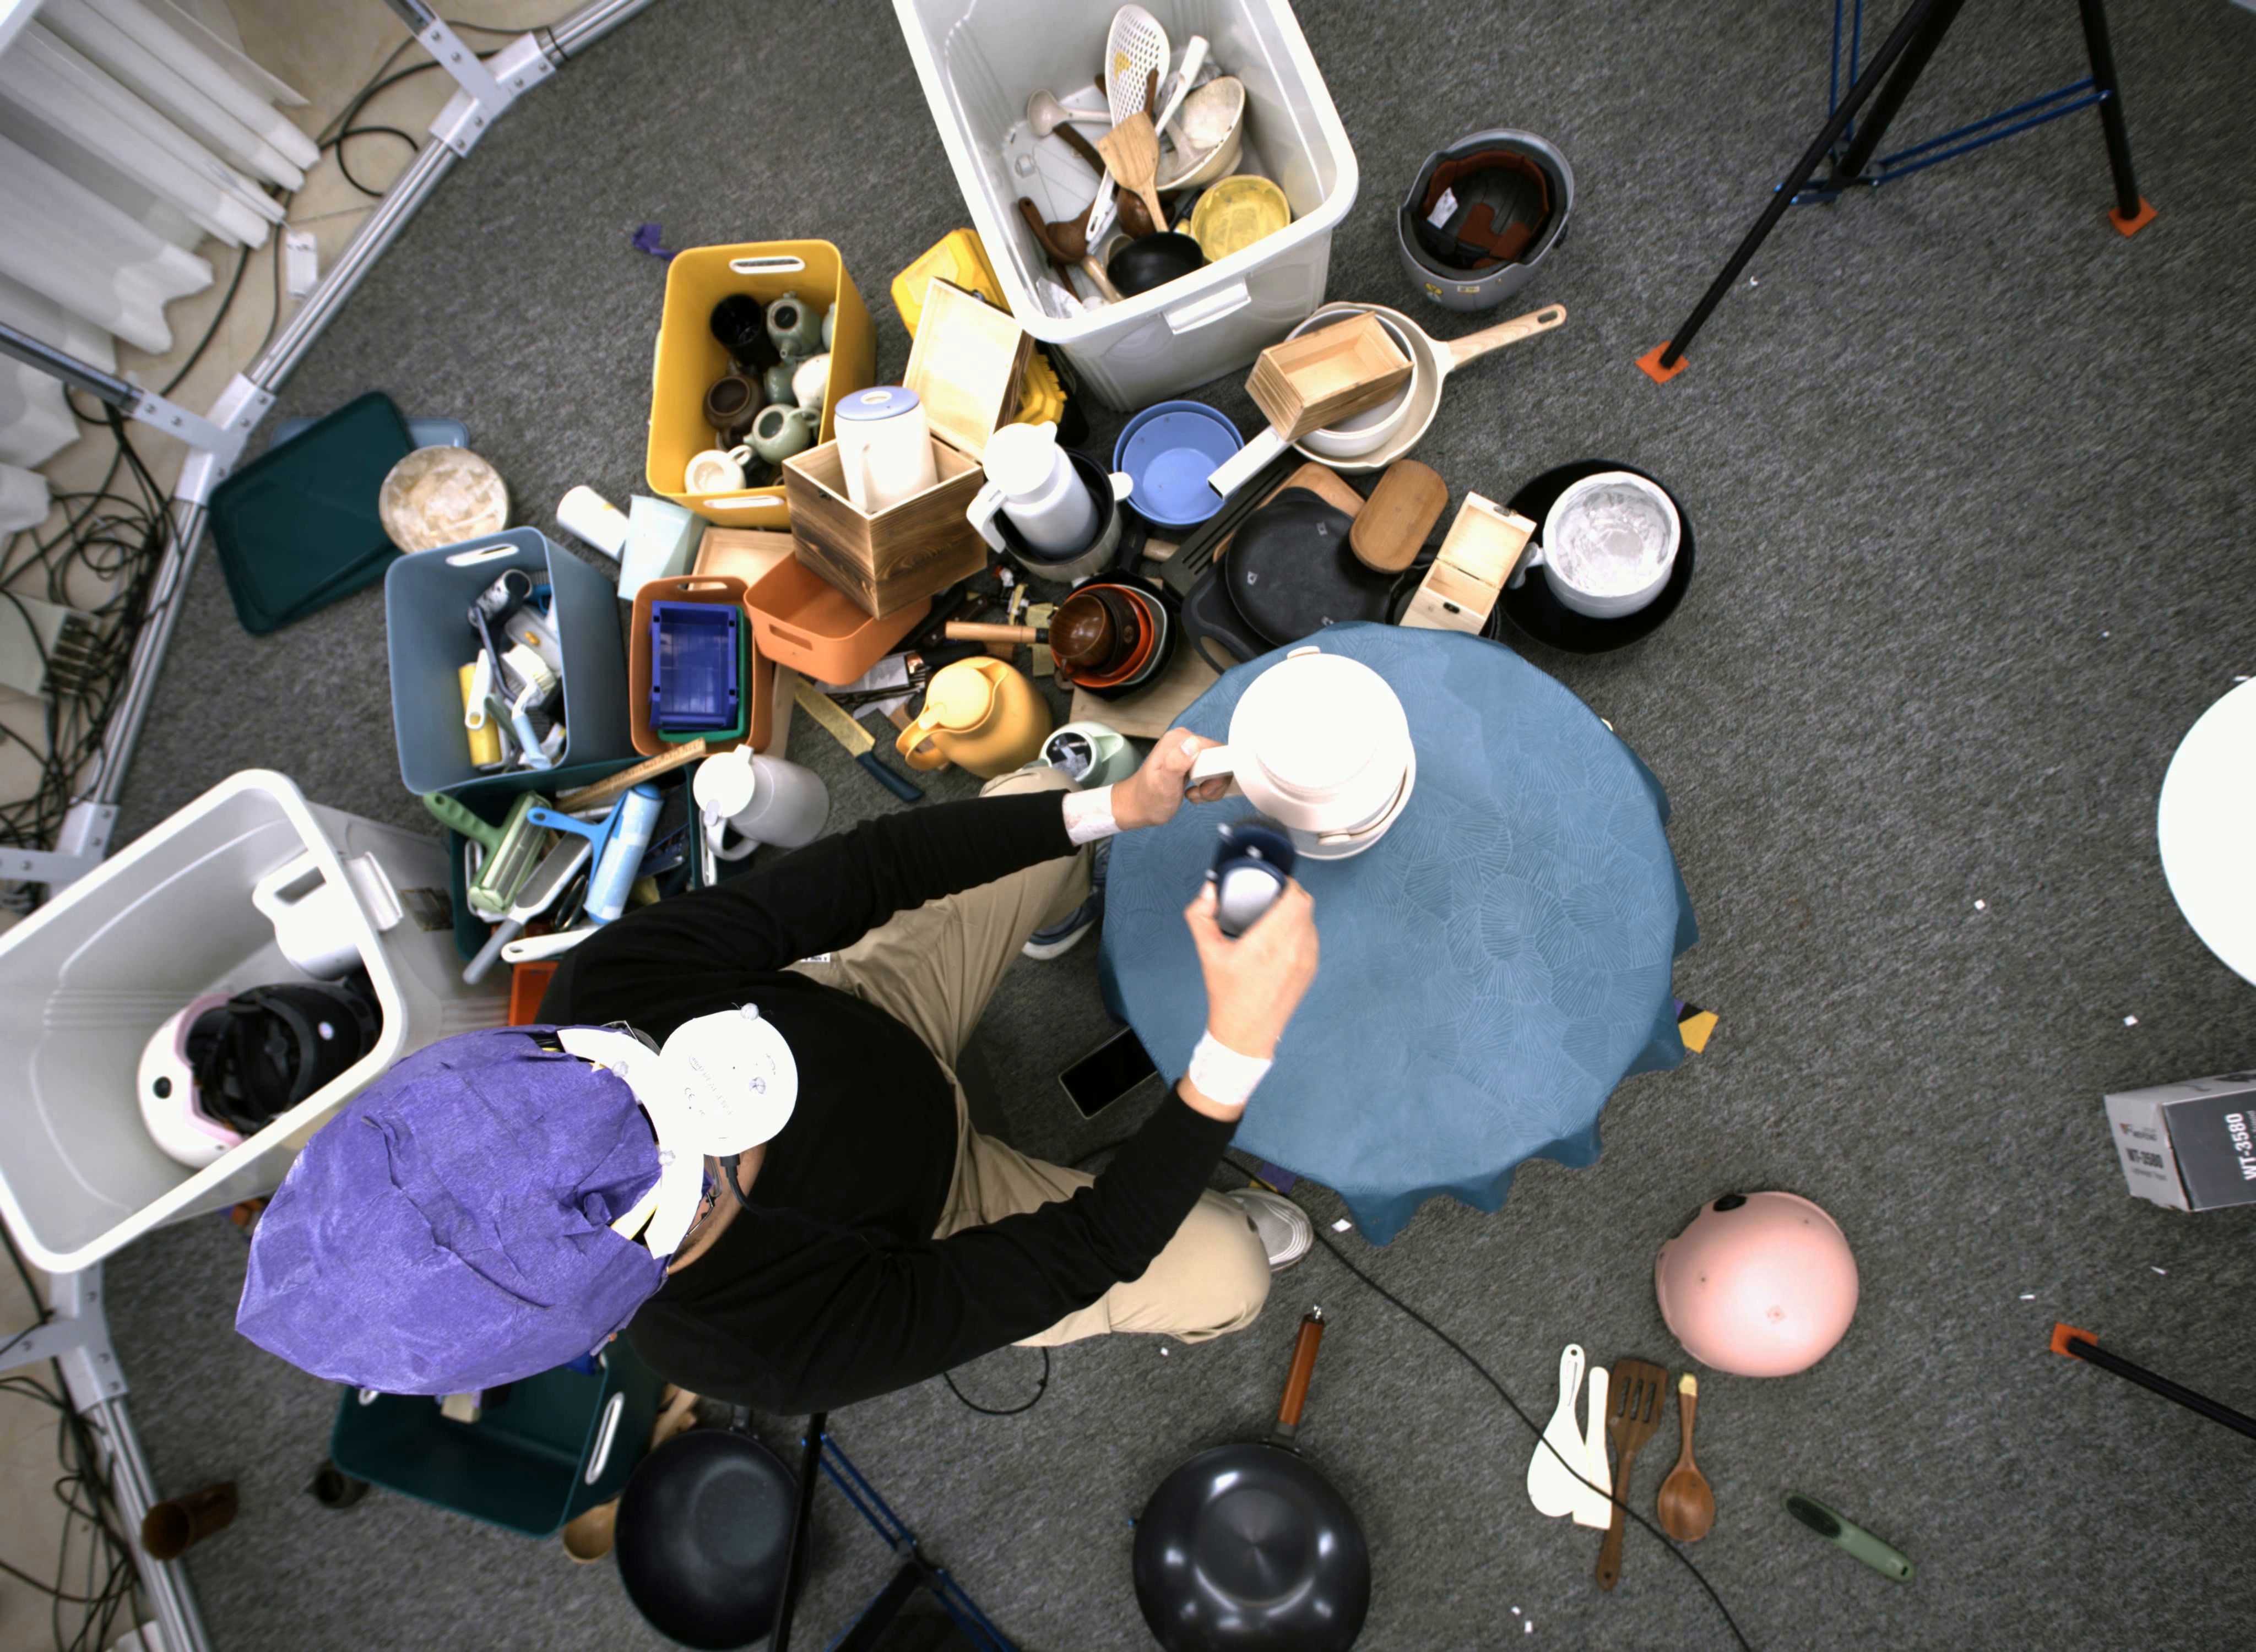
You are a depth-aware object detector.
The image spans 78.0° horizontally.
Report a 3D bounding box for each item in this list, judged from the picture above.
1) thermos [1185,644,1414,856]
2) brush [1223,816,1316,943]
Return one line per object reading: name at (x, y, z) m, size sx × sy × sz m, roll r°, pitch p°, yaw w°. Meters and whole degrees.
thermos at (0.165, -0.065, 1.286) m, size 0.208 × 0.406 × 0.174 m, roll -10°, pitch 84°, yaw 8°
brush at (0.117, 0.043, 1.157) m, size 0.068 × 0.125 × 0.059 m, roll 16°, pitch 54°, yaw -1°
